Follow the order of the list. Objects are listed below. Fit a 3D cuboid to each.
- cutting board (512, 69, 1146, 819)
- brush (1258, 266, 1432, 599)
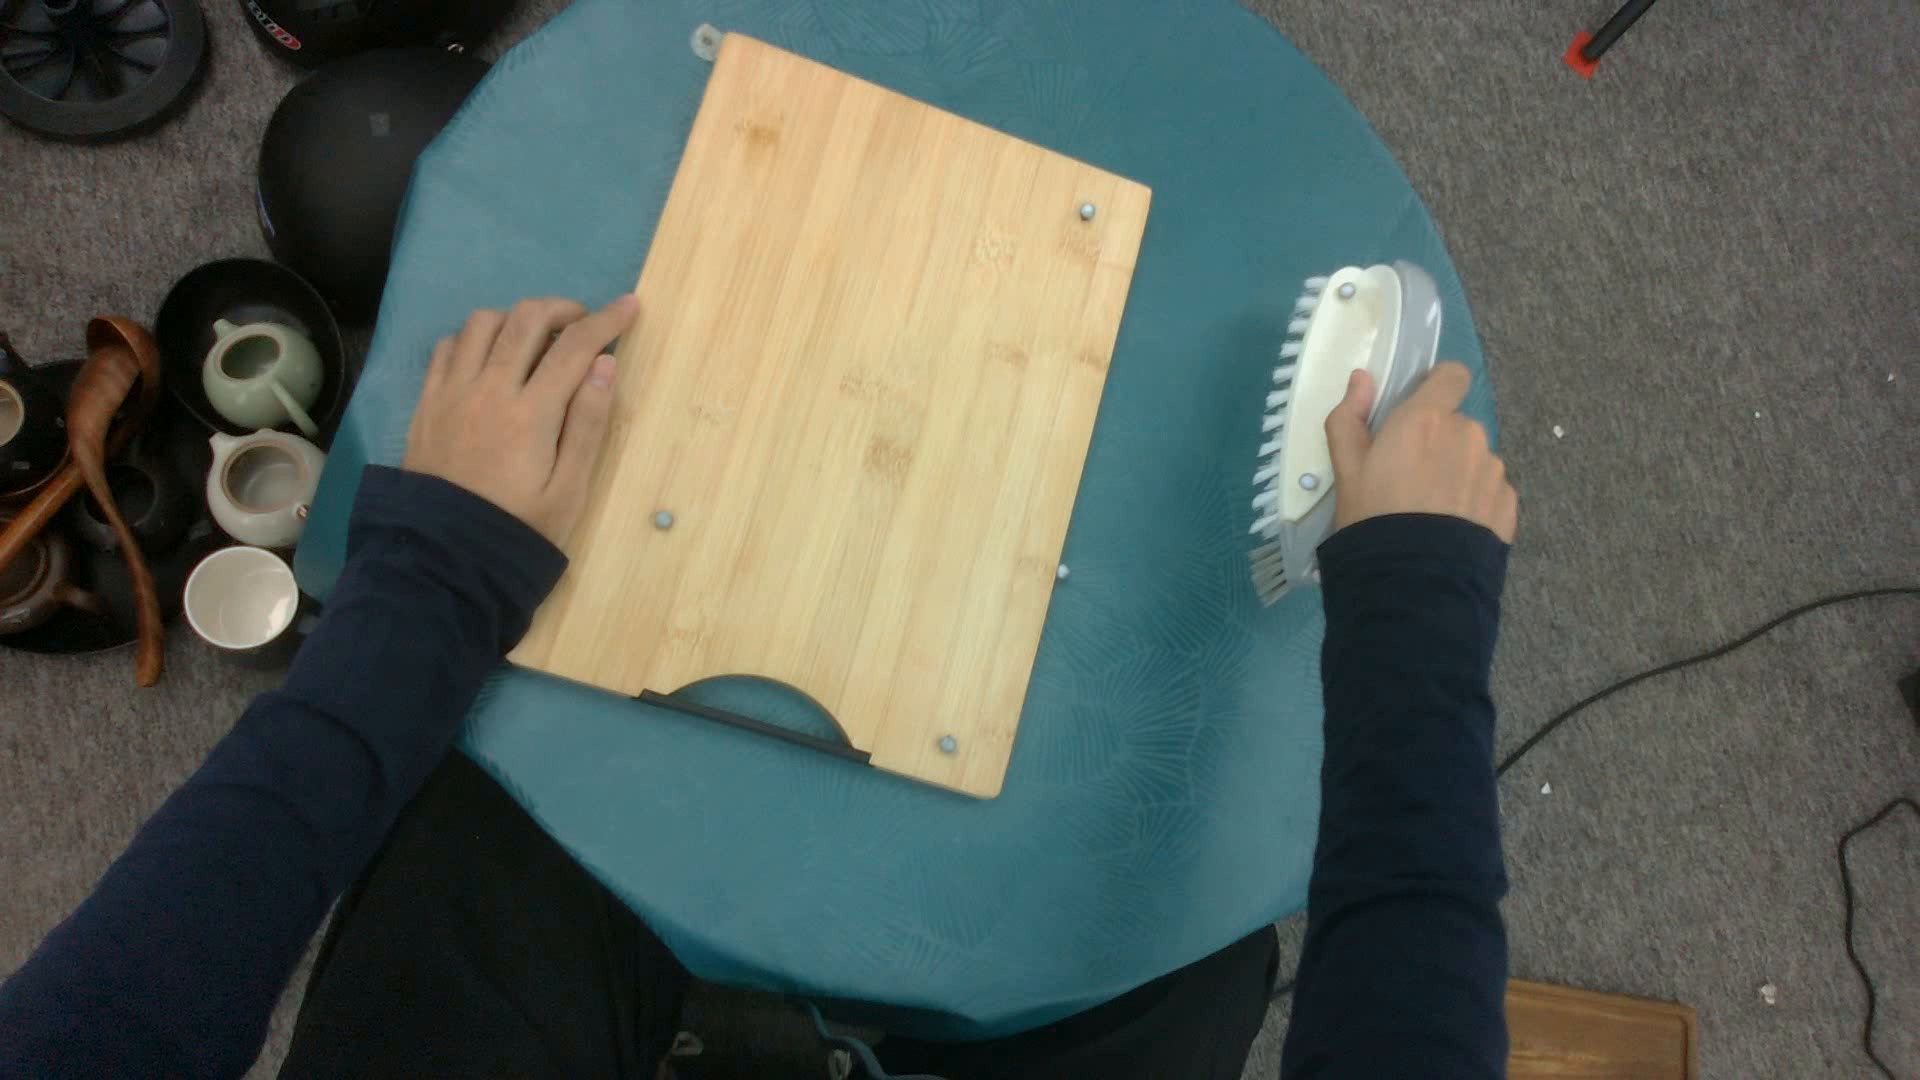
[{"bbox_3d":[-0.053,-0.056,0.710,0.251,0.023,0.349,15,74,-8],"label":"cutting board"},{"bbox_3d":[0.197,-0.056,0.696,0.061,0.094,0.176,19,80,-11],"label":"brush"}]
